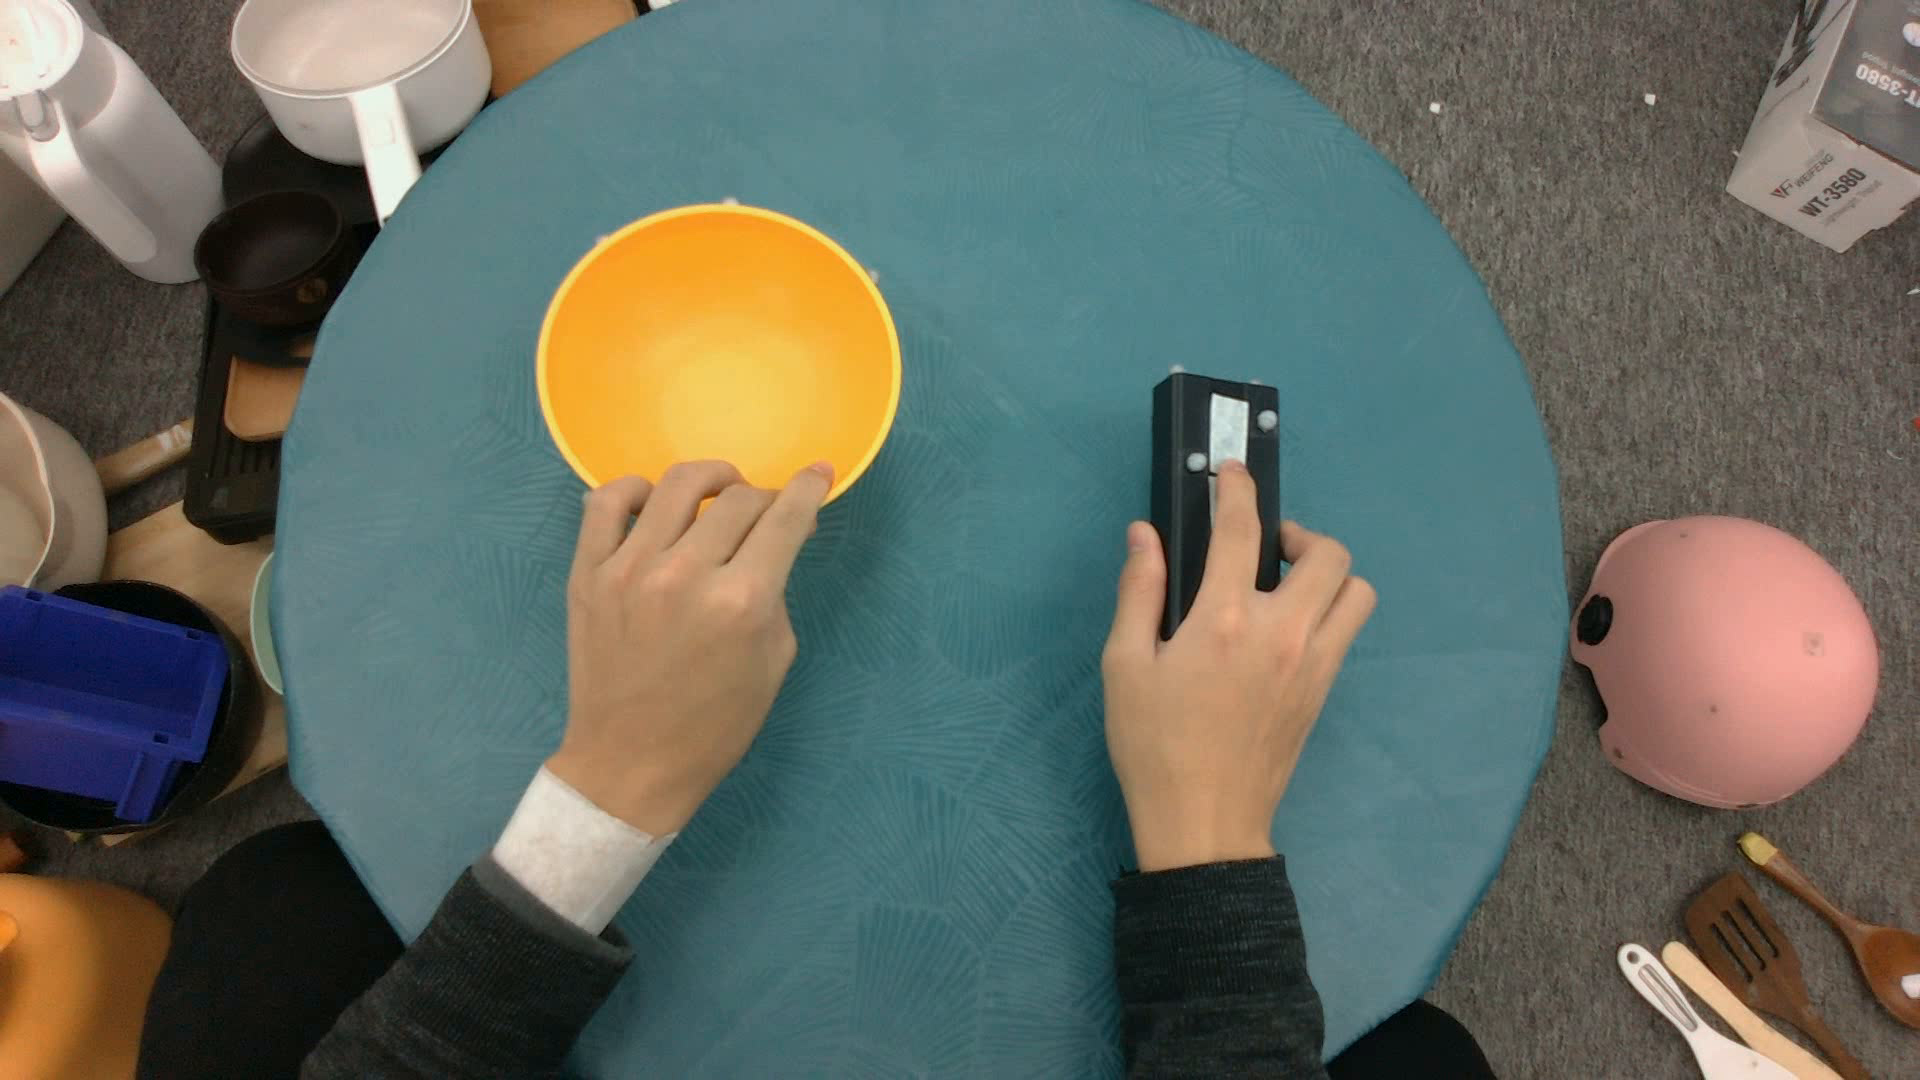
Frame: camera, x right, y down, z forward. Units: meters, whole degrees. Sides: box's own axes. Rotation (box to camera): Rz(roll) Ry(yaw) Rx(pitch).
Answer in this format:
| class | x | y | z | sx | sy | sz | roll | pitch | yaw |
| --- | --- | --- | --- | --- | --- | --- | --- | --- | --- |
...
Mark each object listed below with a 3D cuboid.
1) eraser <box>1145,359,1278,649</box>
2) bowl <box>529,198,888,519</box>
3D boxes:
| class | x | y | z | sx | sy | sz | roll | pitch | yaw |
| --- | --- | --- | --- | --- | --- | --- | --- | --- | --- |
| eraser | 0.110 | -0.016 | 0.601 | 0.053 | 0.030 | 0.126 | 8 | 72 | -10 |
| bowl | -0.105 | -0.068 | 0.588 | 0.145 | 0.060 | 0.146 | 3 | 70 | -8 |
